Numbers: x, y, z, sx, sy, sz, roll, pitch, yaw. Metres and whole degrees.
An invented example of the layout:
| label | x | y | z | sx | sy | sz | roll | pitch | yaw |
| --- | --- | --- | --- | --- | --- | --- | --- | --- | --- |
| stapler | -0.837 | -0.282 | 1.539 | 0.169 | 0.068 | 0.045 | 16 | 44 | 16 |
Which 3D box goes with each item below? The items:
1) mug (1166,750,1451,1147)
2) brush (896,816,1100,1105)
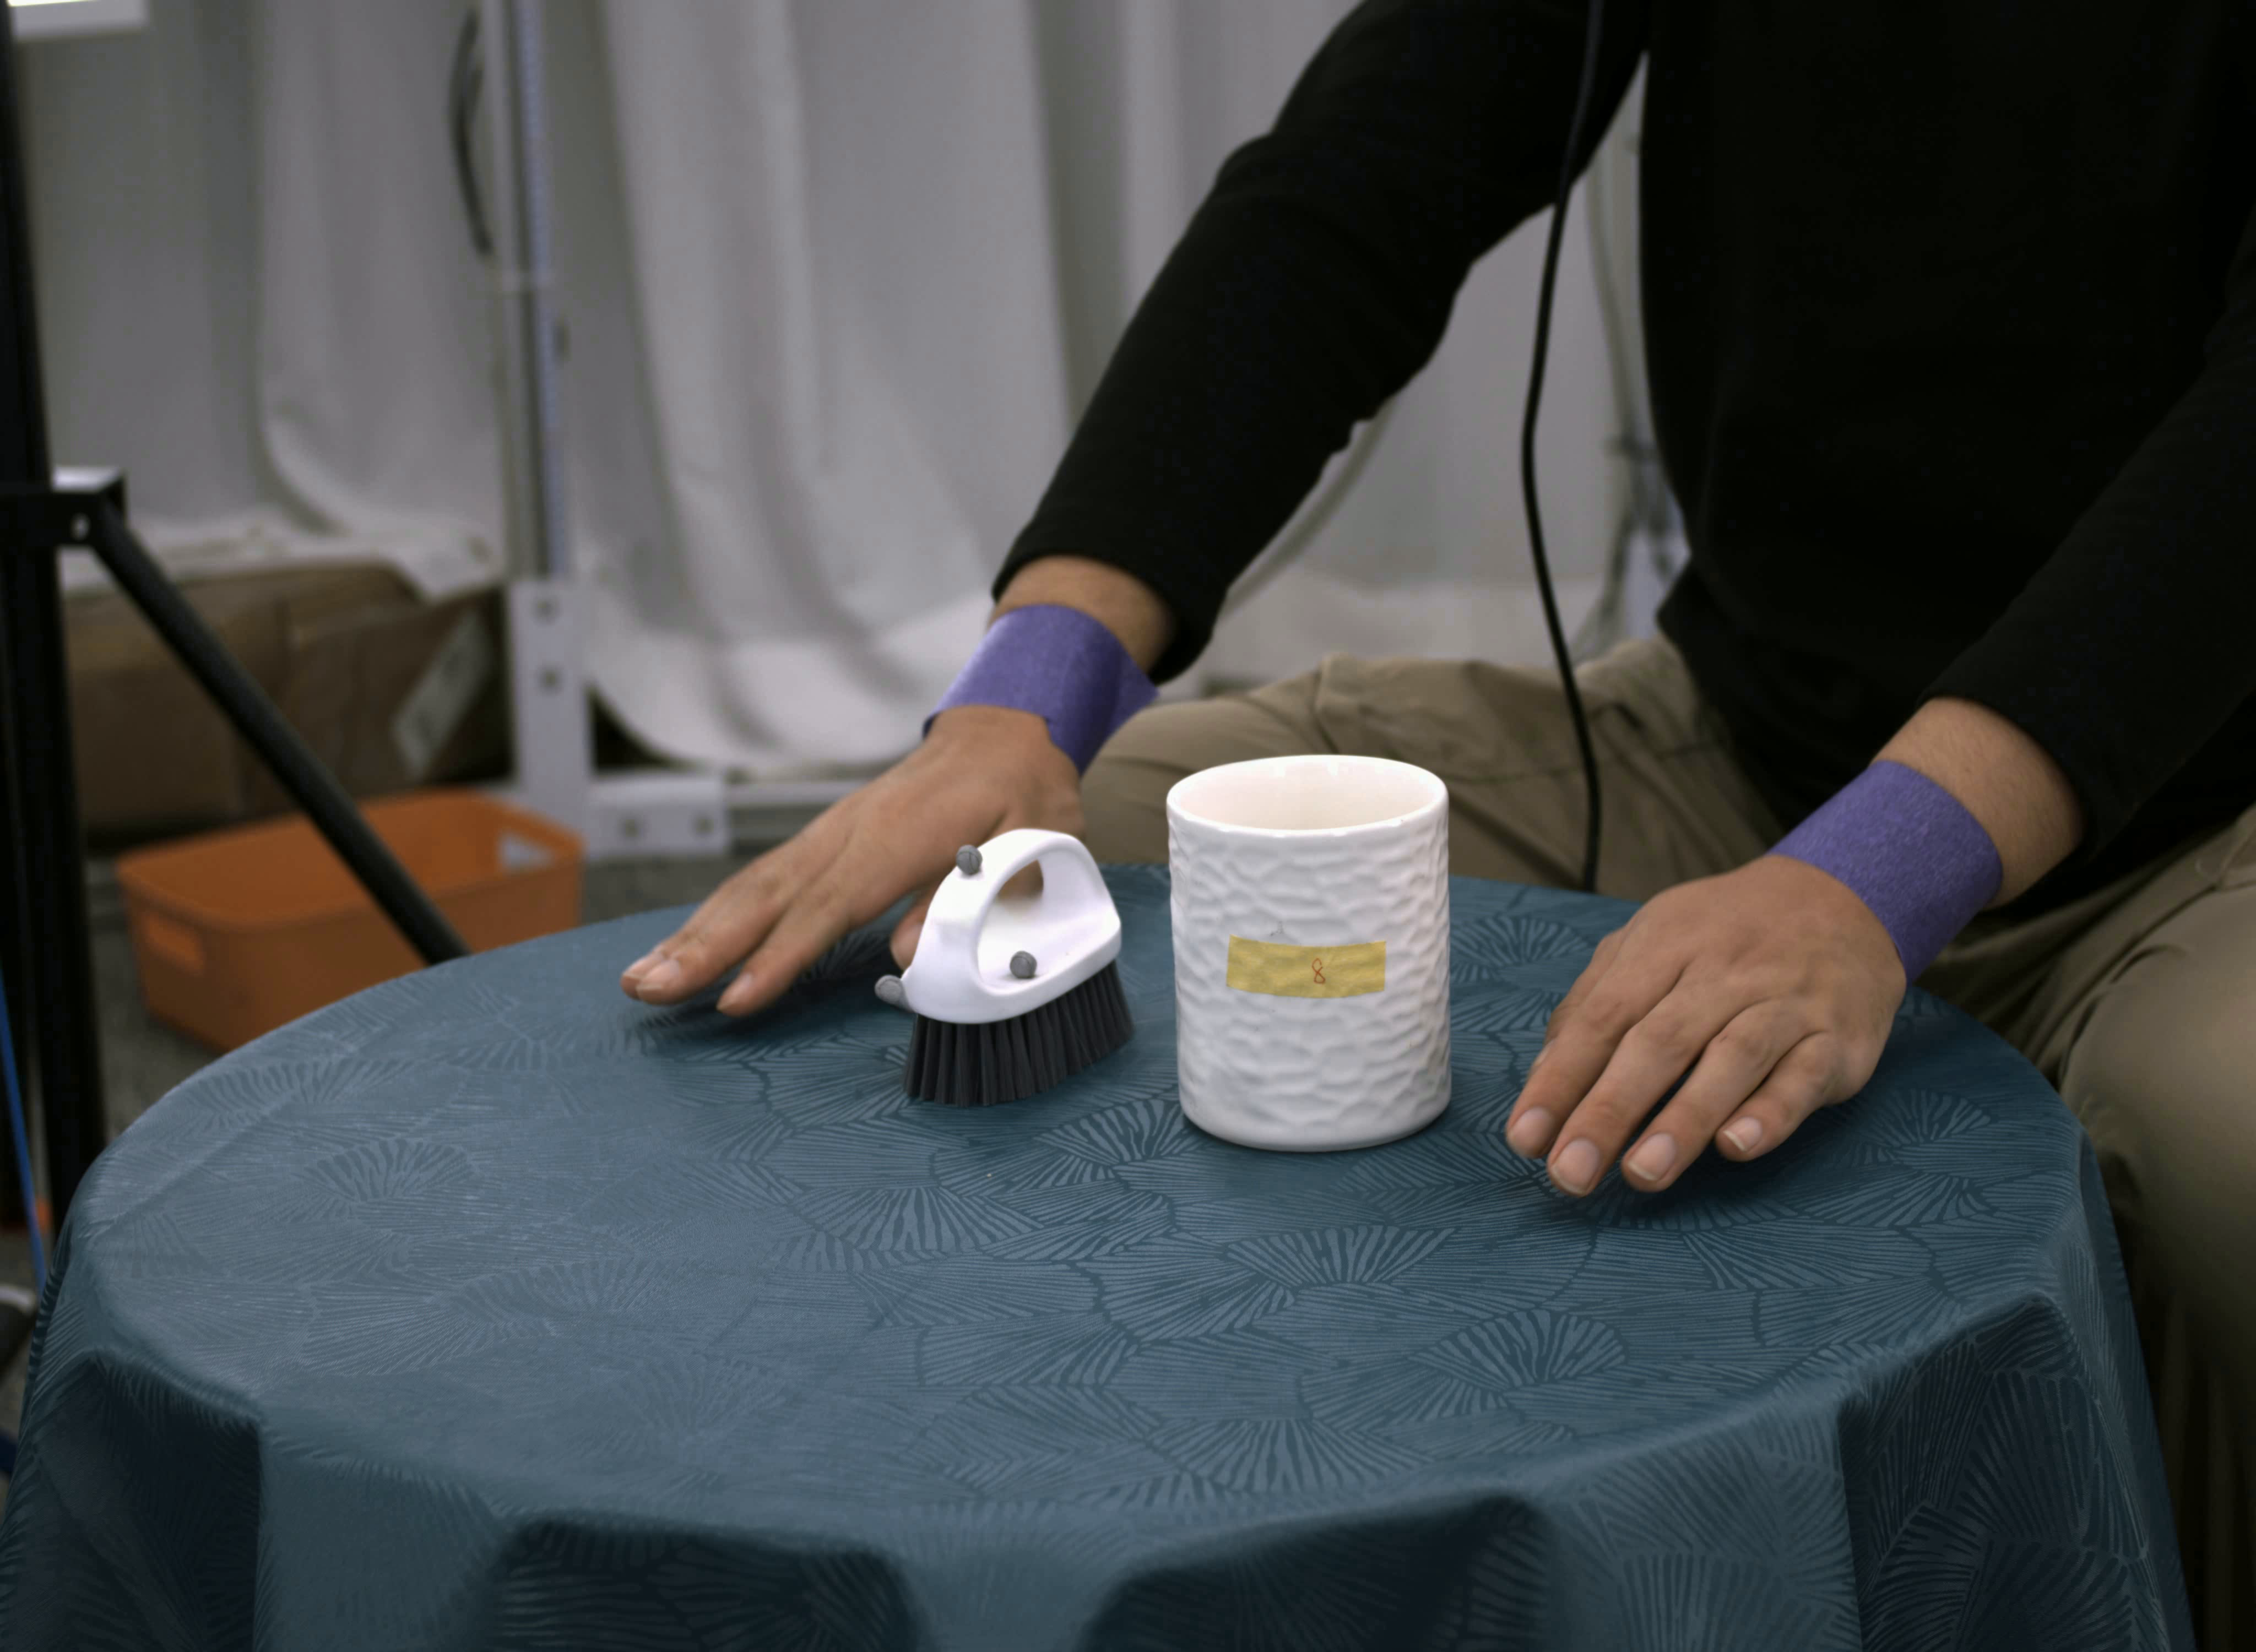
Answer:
| label | x | y | z | sx | sy | sz | roll | pitch | yaw |
| --- | --- | --- | --- | --- | --- | --- | --- | --- | --- |
| mug | 0.062 | 0.033 | 1.622 | 0.086 | 0.102 | 0.116 | 5 | 17 | 26 |
| brush | -0.040 | 0.036 | 1.680 | 0.051 | 0.072 | 0.098 | 8 | 23 | 18 |
